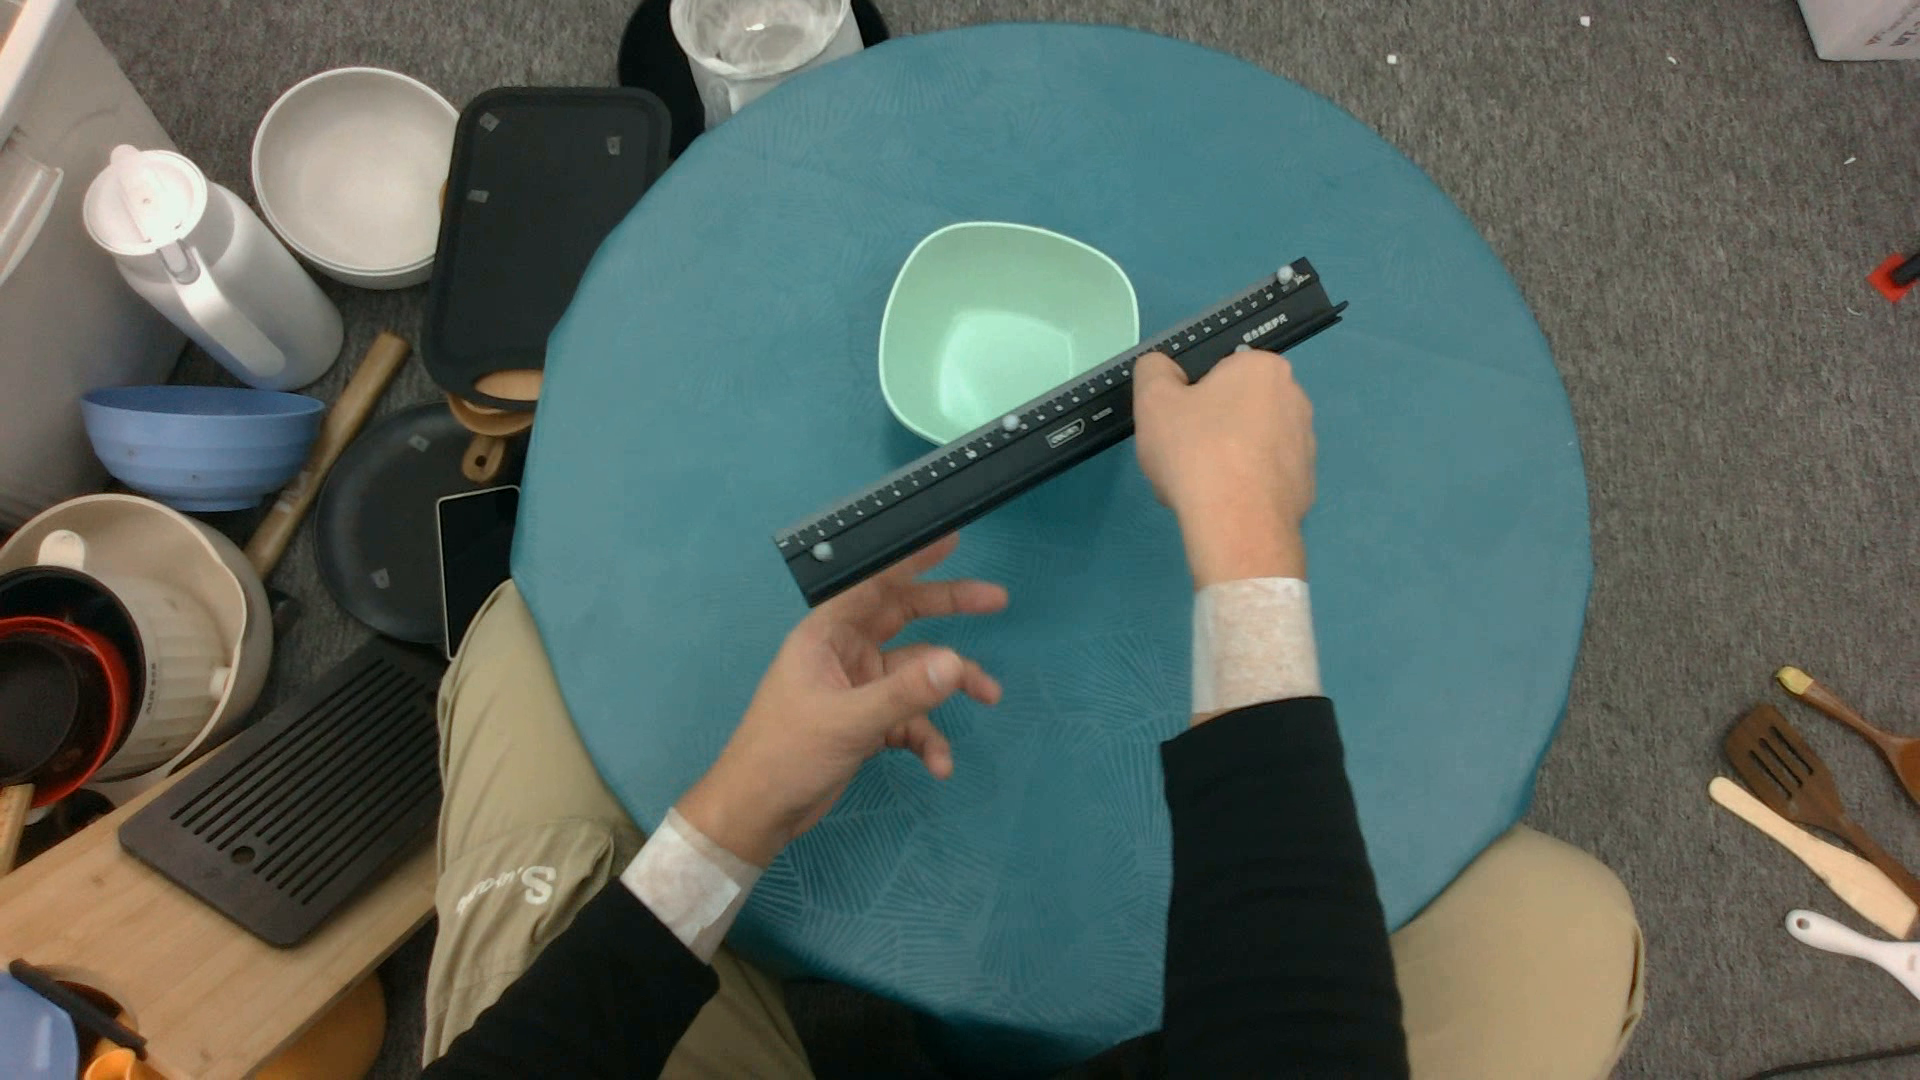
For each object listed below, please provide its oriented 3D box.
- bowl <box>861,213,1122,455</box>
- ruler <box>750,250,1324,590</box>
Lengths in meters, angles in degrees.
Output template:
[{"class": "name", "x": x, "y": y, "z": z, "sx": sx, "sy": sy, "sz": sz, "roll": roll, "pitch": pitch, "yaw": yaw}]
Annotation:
[{"class": "bowl", "x": 0.016, "y": -0.105, "z": 0.764, "sx": 0.151, "sy": 0.058, "sz": 0.152, "roll": 2, "pitch": 71, "yaw": -4}, {"class": "ruler", "x": 0.046, "y": -0.065, "z": 0.658, "sx": 0.313, "sy": 0.017, "sz": 0.039, "roll": -28, "pitch": 89, "yaw": -17}]
